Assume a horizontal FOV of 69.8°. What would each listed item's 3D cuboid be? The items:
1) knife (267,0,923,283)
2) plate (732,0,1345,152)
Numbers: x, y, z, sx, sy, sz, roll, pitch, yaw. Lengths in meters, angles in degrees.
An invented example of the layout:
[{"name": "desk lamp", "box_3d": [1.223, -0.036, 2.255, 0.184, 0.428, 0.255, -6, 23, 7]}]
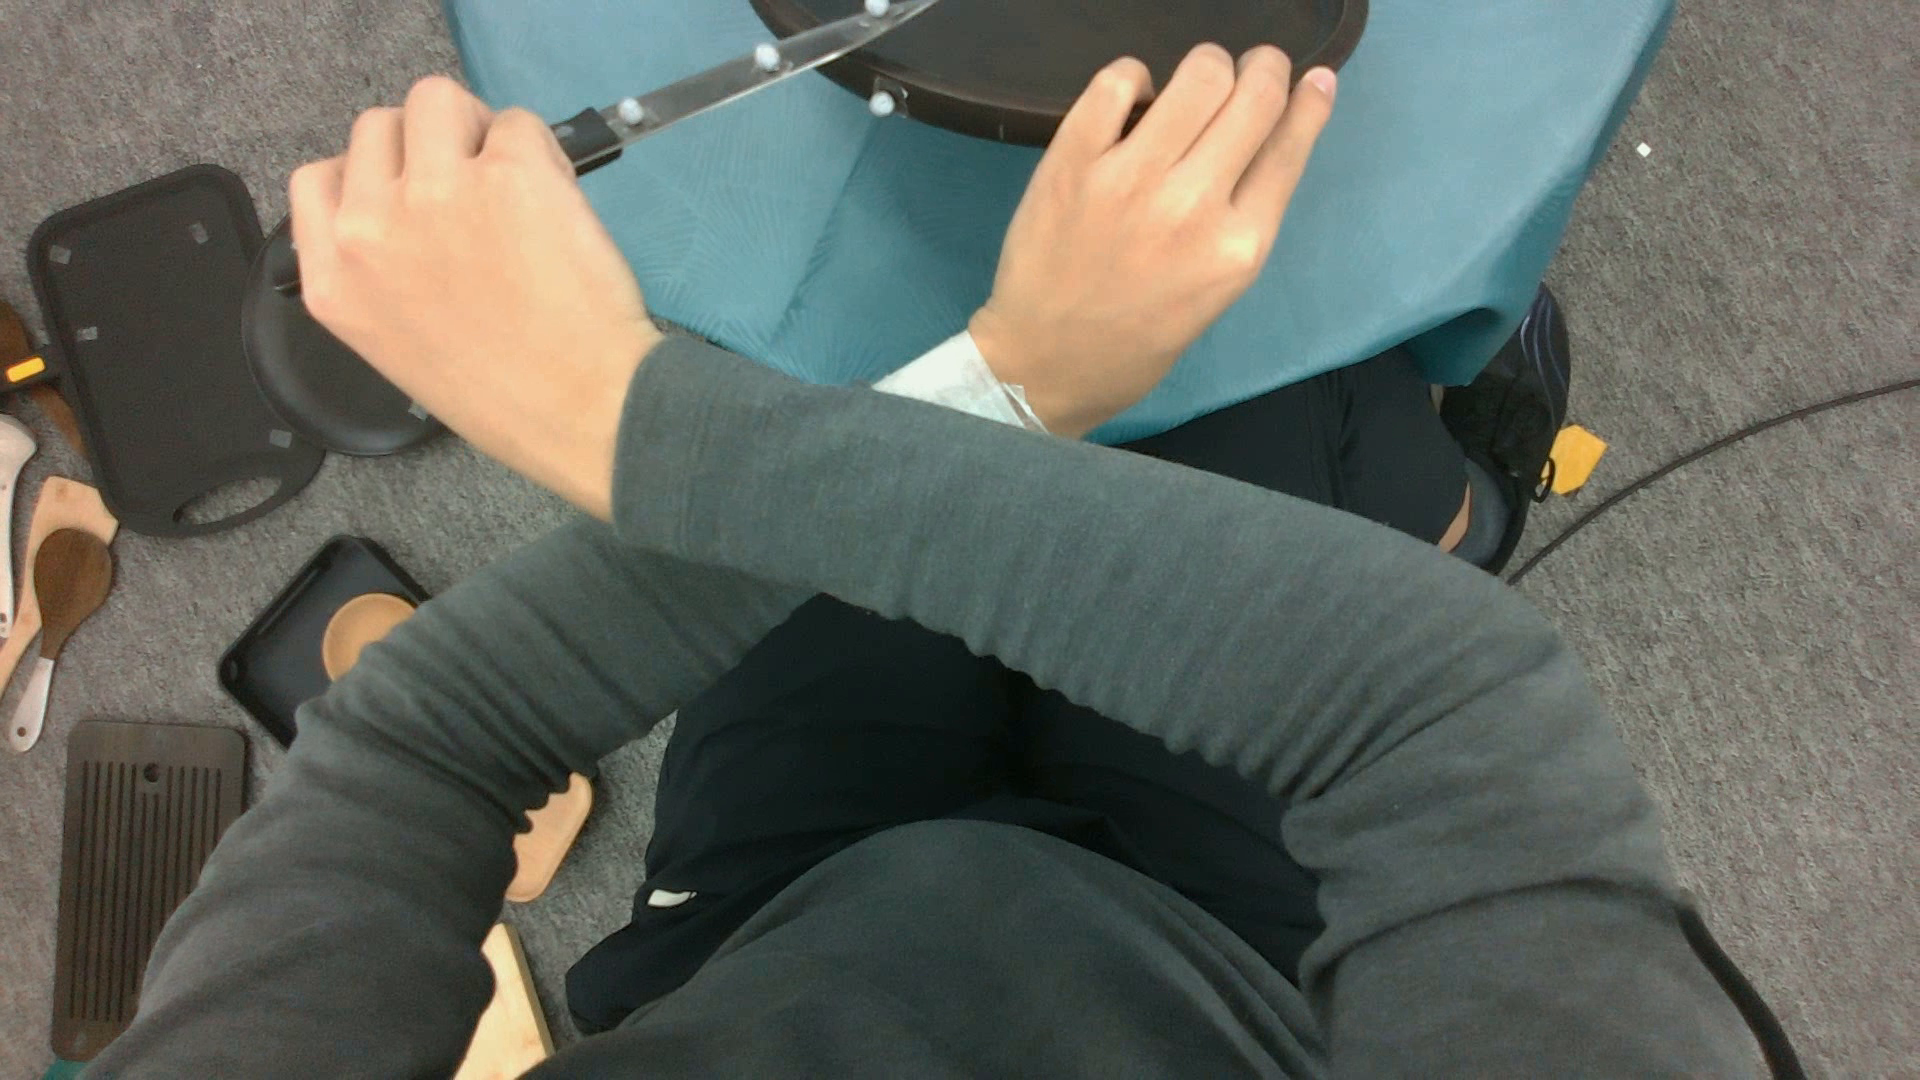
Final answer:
[{"name": "knife", "box_3d": [-0.109, -0.138, 0.453, 0.239, 0.016, 0.024, -28, 50, -15]}, {"name": "plate", "box_3d": [0.030, -0.231, 0.561, 0.255, 0.029, 0.256, 3, 46, -3]}]
